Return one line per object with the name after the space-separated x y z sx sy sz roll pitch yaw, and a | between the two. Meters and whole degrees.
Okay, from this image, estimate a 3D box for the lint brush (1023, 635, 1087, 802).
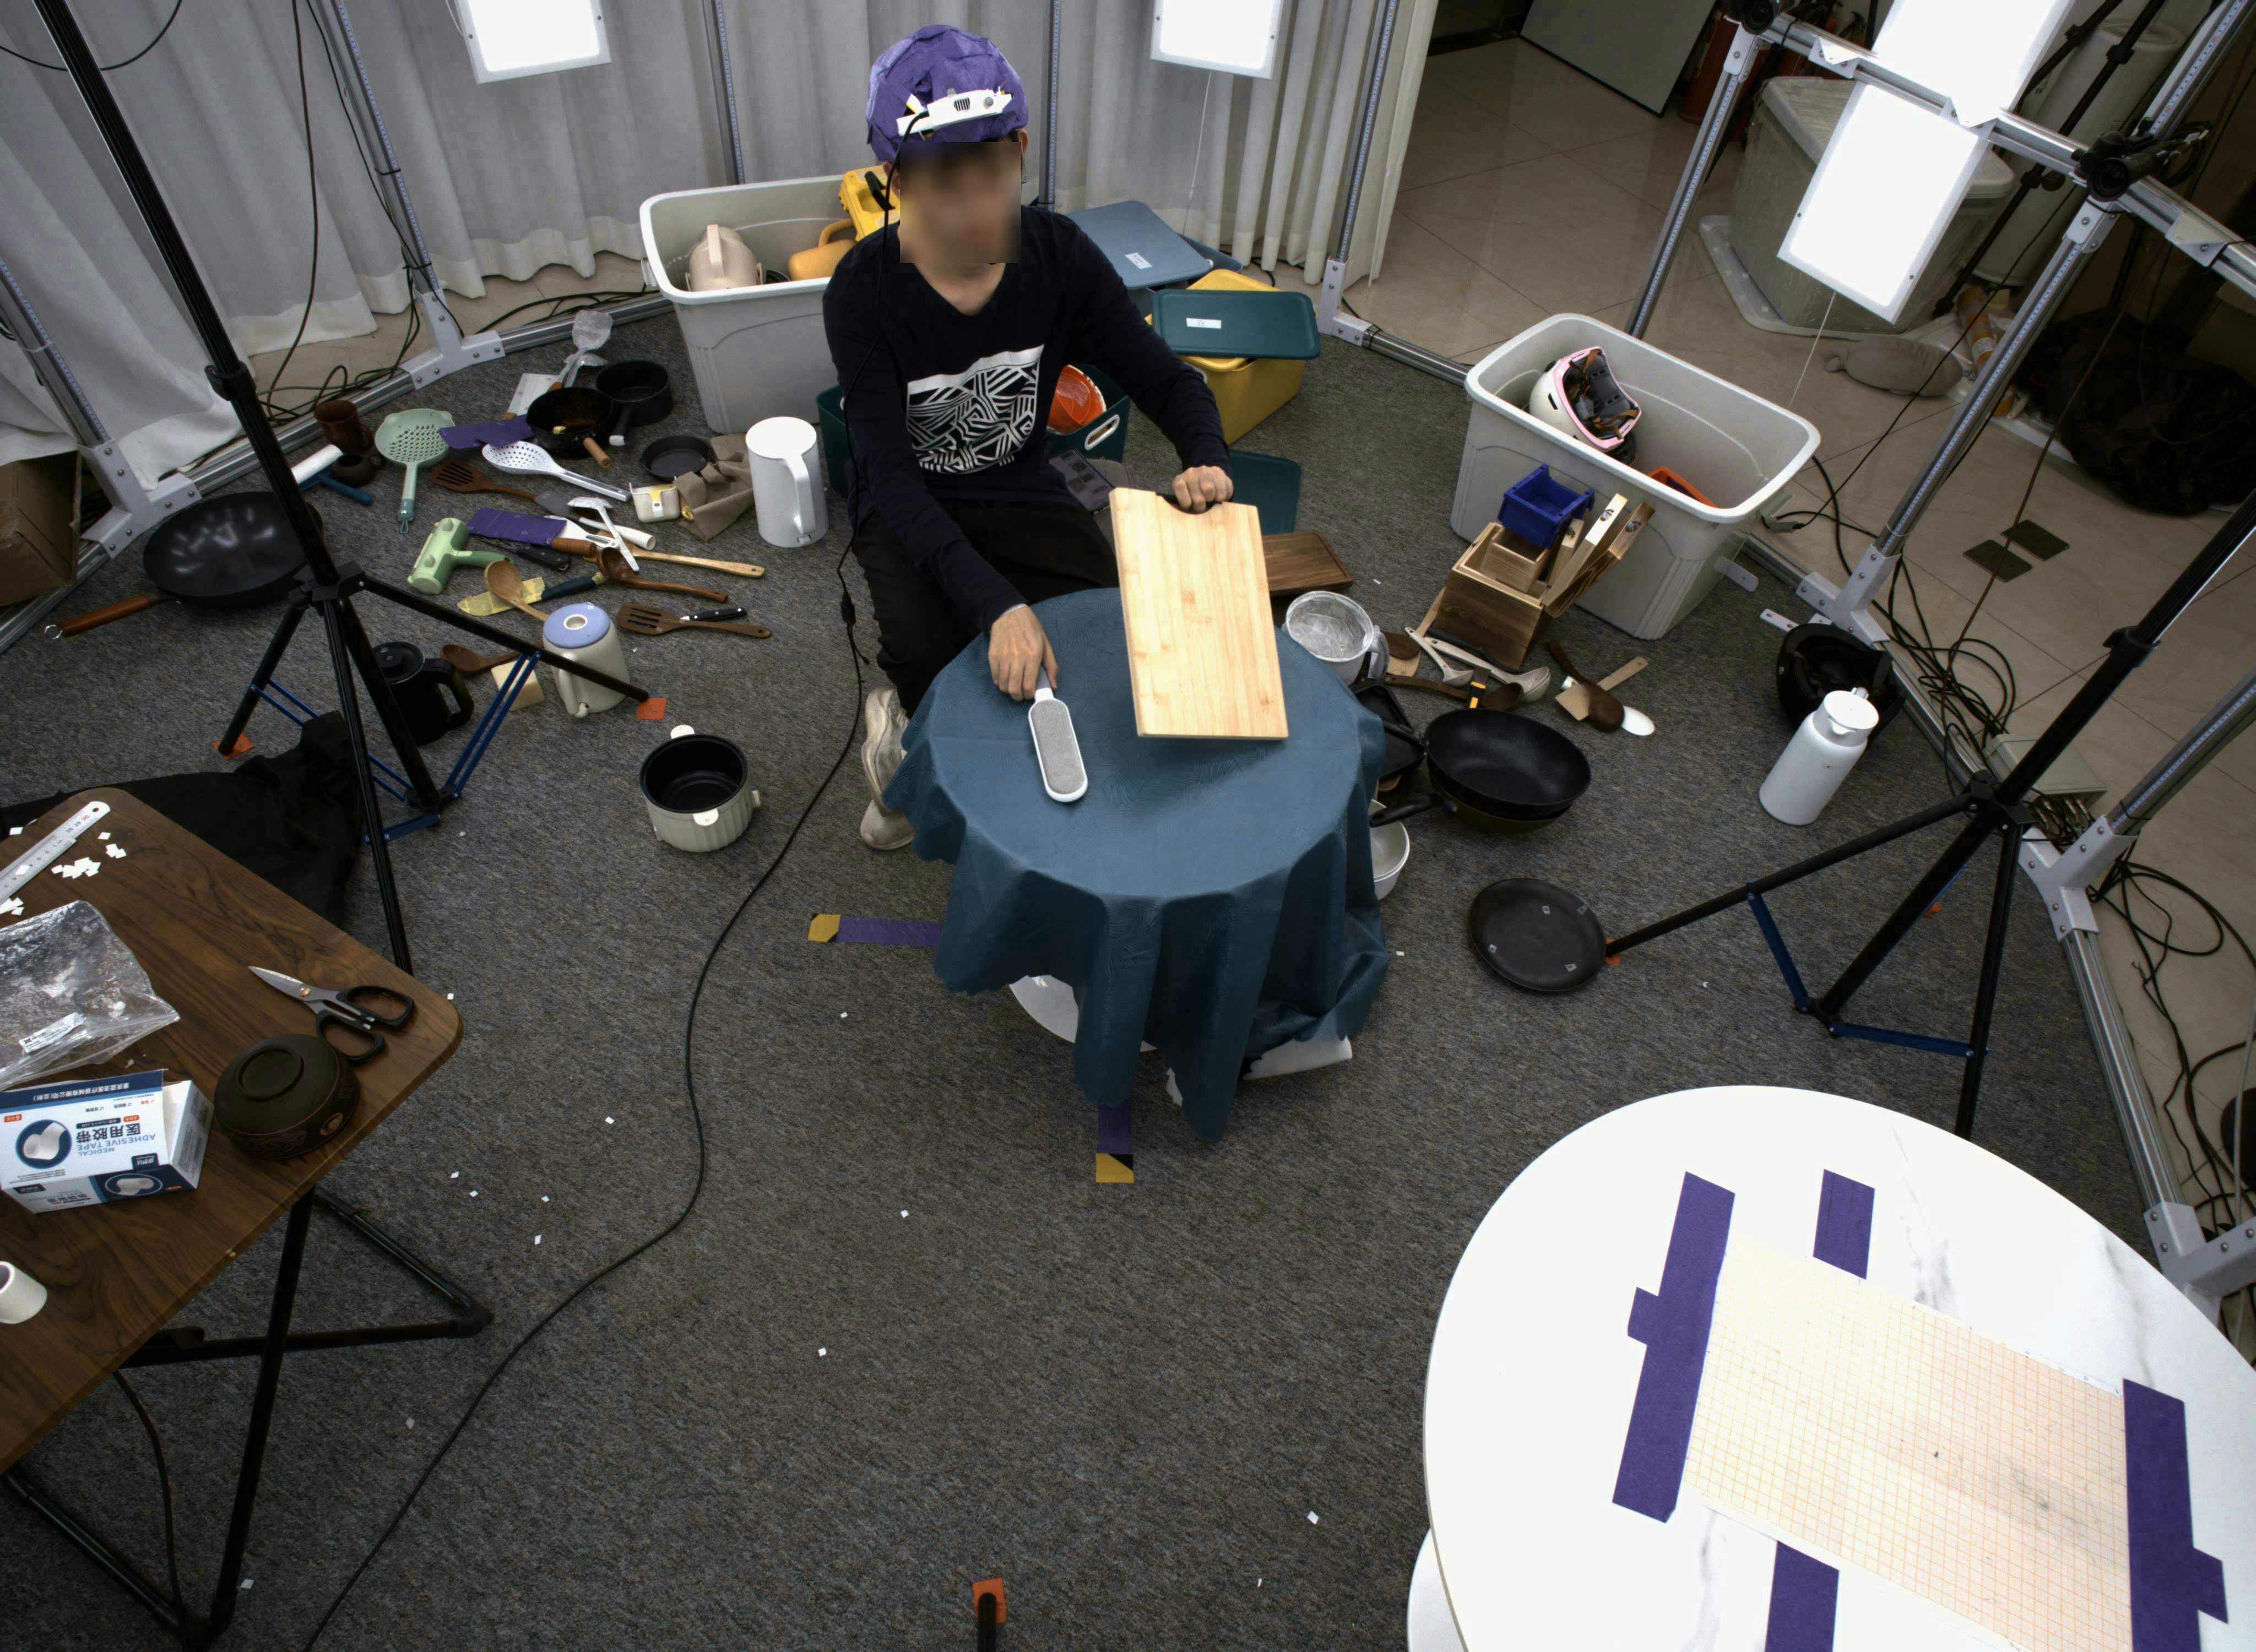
-0.108 -0.155 1.773 0.060 0.020 0.316 -13 52 -2 | lint brush

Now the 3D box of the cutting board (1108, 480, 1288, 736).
0.097 -0.291 1.753 0.249 0.023 0.352 -1 78 -32 | cutting board
